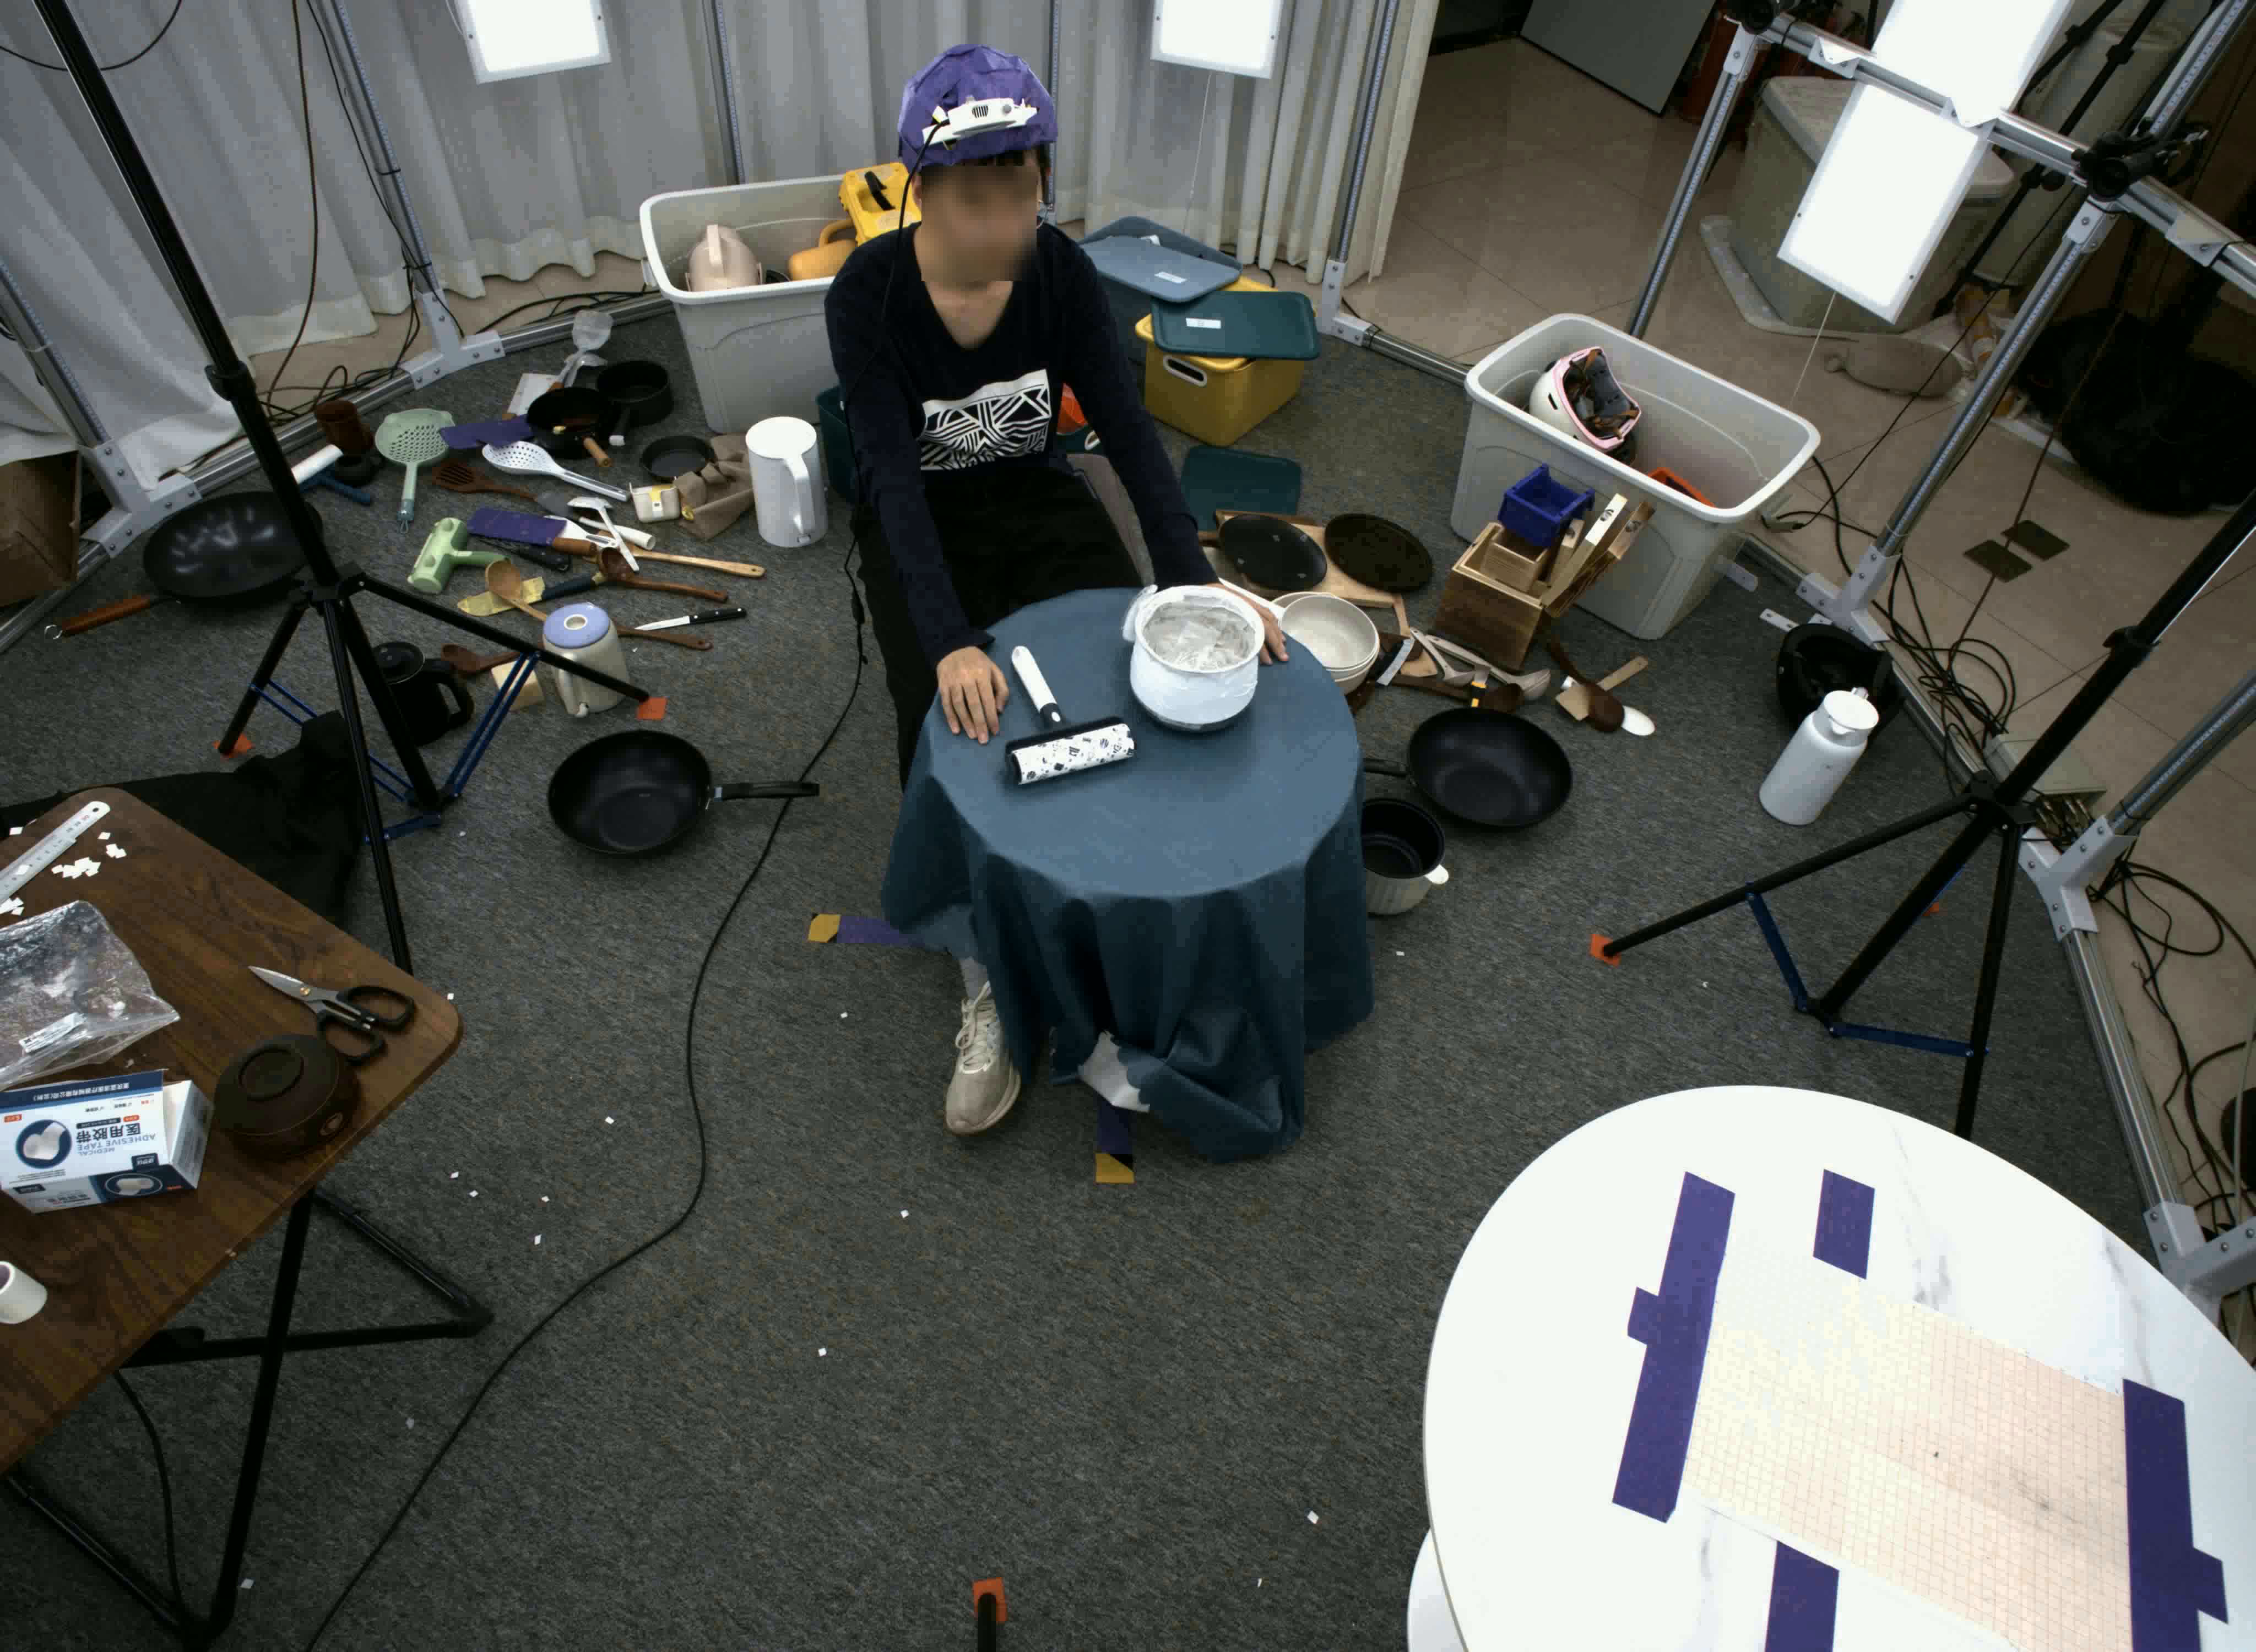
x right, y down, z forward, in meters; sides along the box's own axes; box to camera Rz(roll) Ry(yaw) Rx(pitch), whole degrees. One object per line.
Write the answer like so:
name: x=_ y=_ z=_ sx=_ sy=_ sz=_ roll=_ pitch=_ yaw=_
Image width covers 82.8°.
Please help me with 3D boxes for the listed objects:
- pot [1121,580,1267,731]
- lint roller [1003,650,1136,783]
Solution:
pot: x=0.076 y=-0.248 z=1.794 sx=0.180 sy=0.133 sz=0.237 roll=-29 pitch=59 yaw=-29
lint roller: x=-0.115 y=-0.169 z=1.779 sx=0.176 sy=0.049 sz=0.253 roll=-16 pitch=50 yaw=-16
